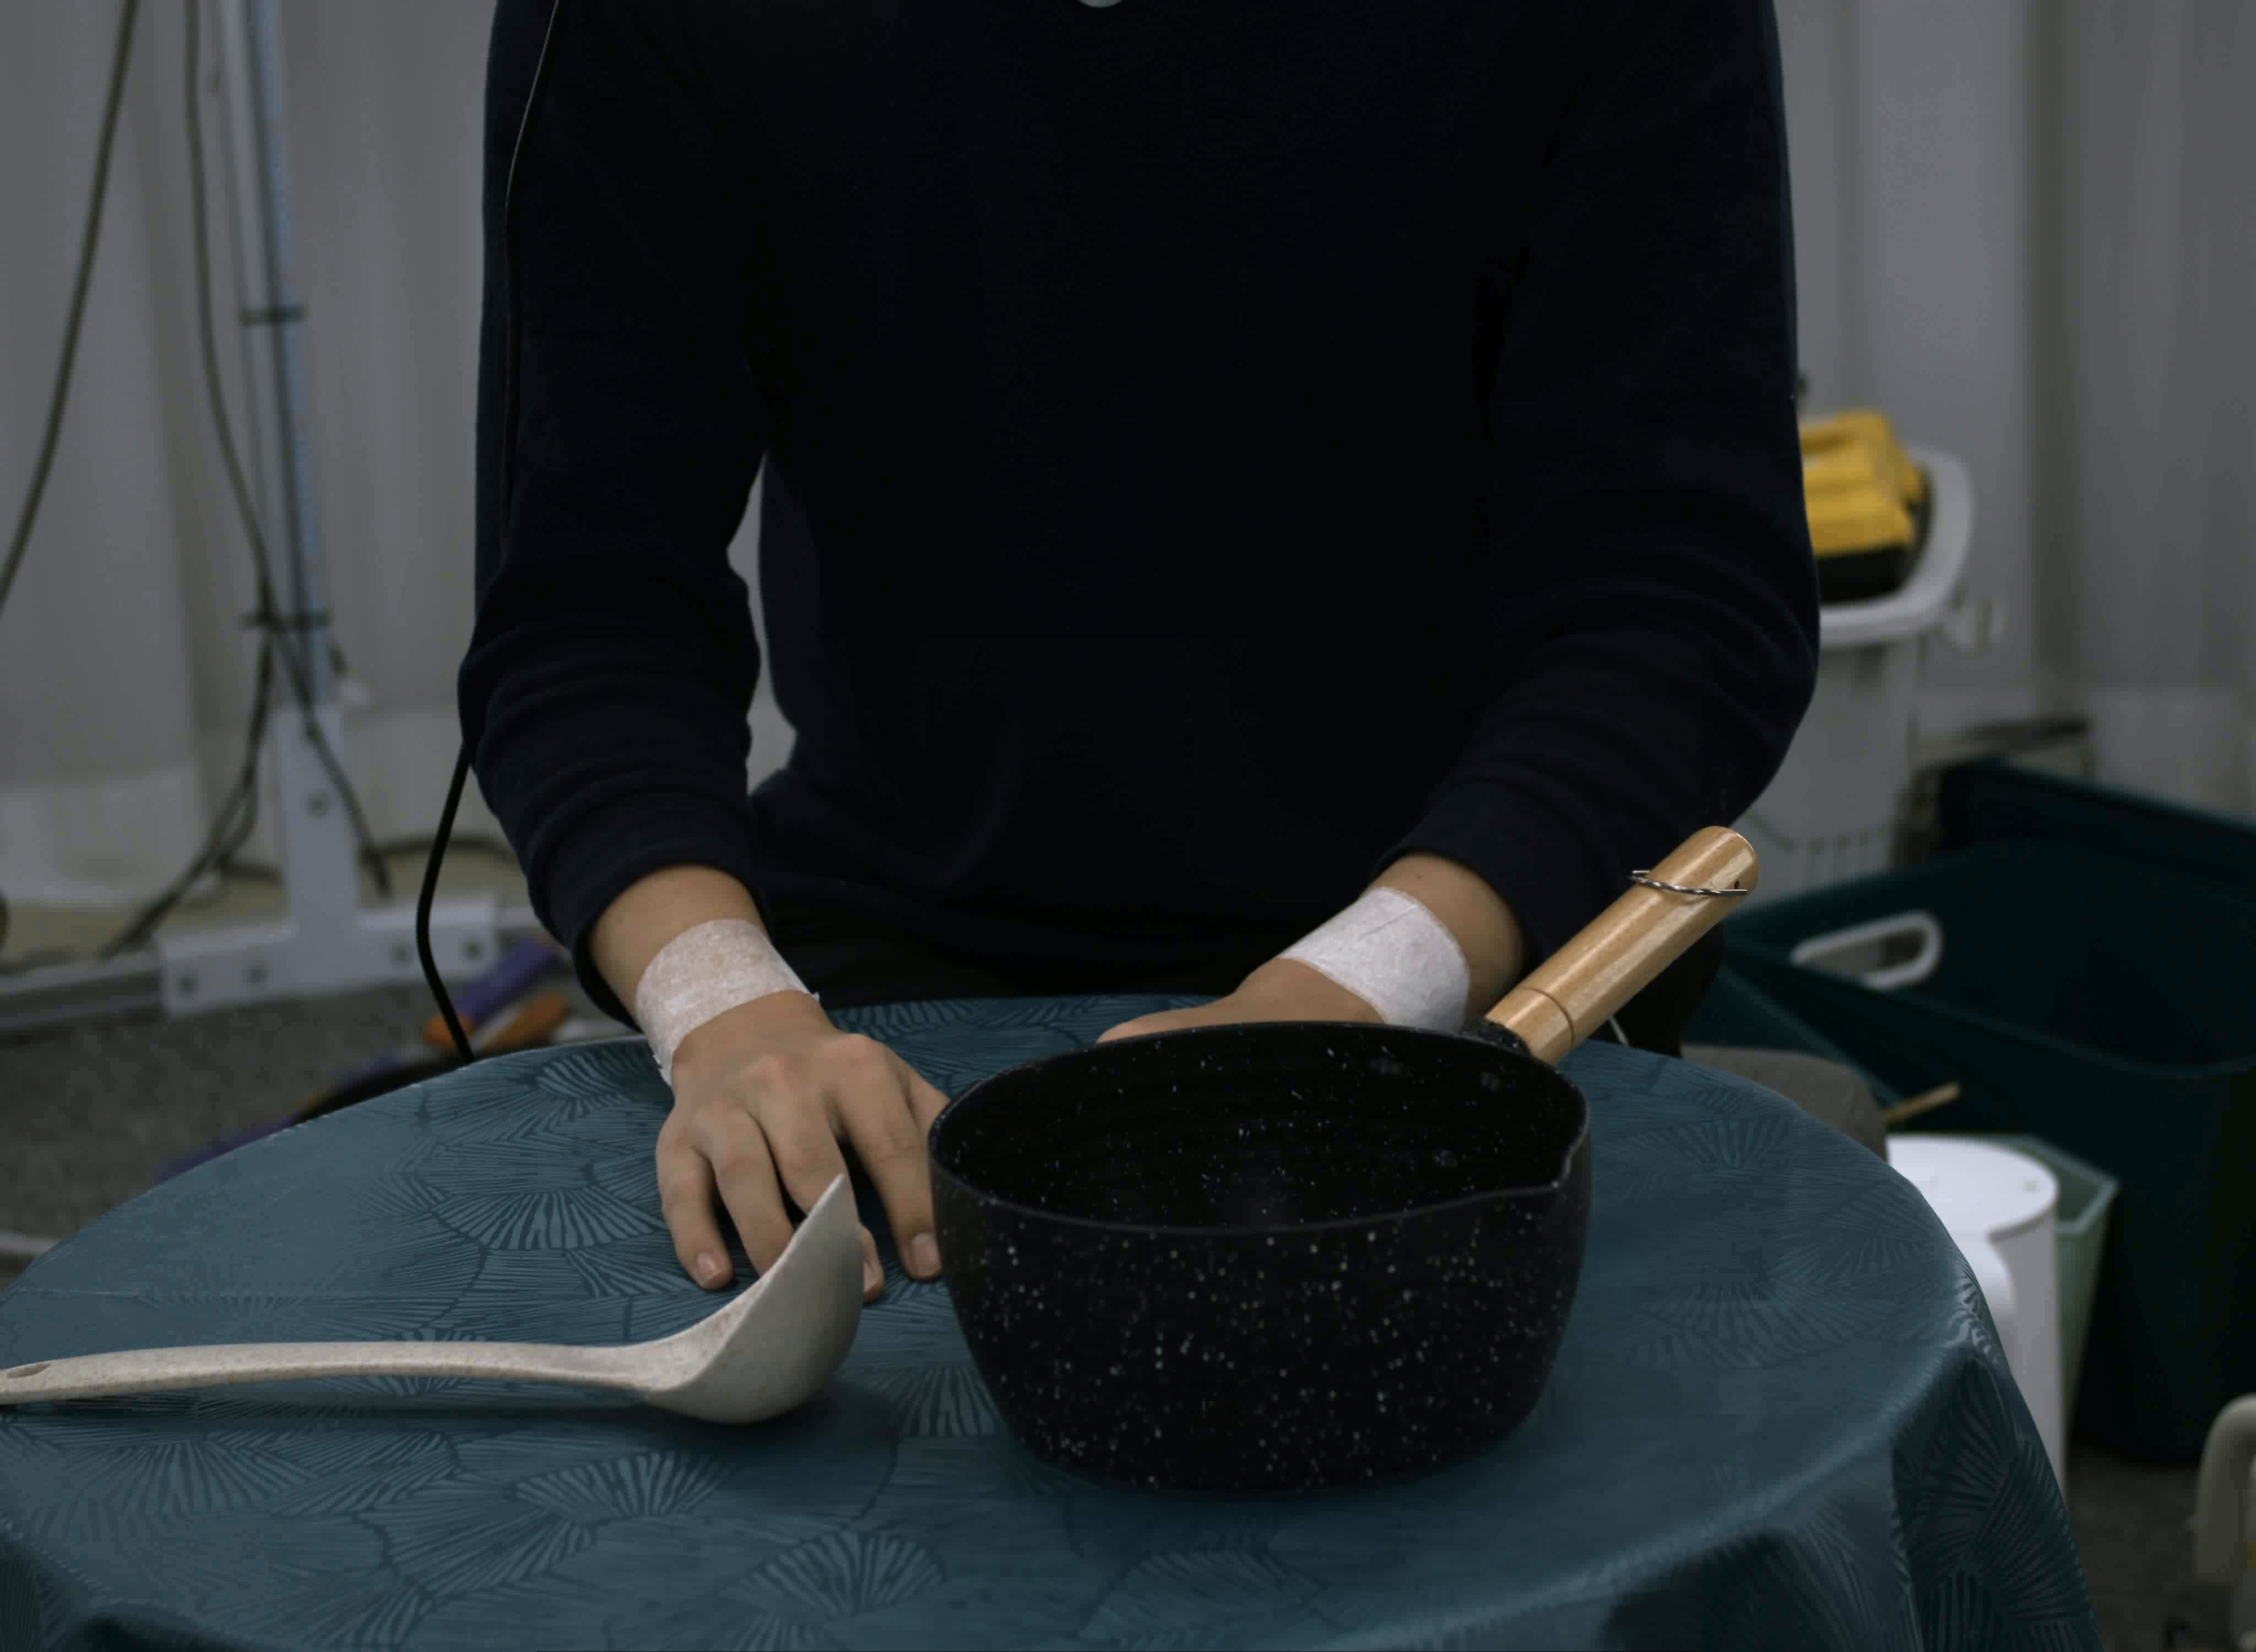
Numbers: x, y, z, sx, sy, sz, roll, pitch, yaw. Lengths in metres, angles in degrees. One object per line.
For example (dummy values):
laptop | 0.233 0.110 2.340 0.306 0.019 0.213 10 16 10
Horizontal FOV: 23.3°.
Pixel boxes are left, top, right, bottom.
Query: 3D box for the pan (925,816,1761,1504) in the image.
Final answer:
pan | 0.085 0.091 1.579 0.208 0.108 0.343 7 19 36

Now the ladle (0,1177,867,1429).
ladle | -0.209 0.134 1.554 0.274 0.069 0.090 0 18 10
